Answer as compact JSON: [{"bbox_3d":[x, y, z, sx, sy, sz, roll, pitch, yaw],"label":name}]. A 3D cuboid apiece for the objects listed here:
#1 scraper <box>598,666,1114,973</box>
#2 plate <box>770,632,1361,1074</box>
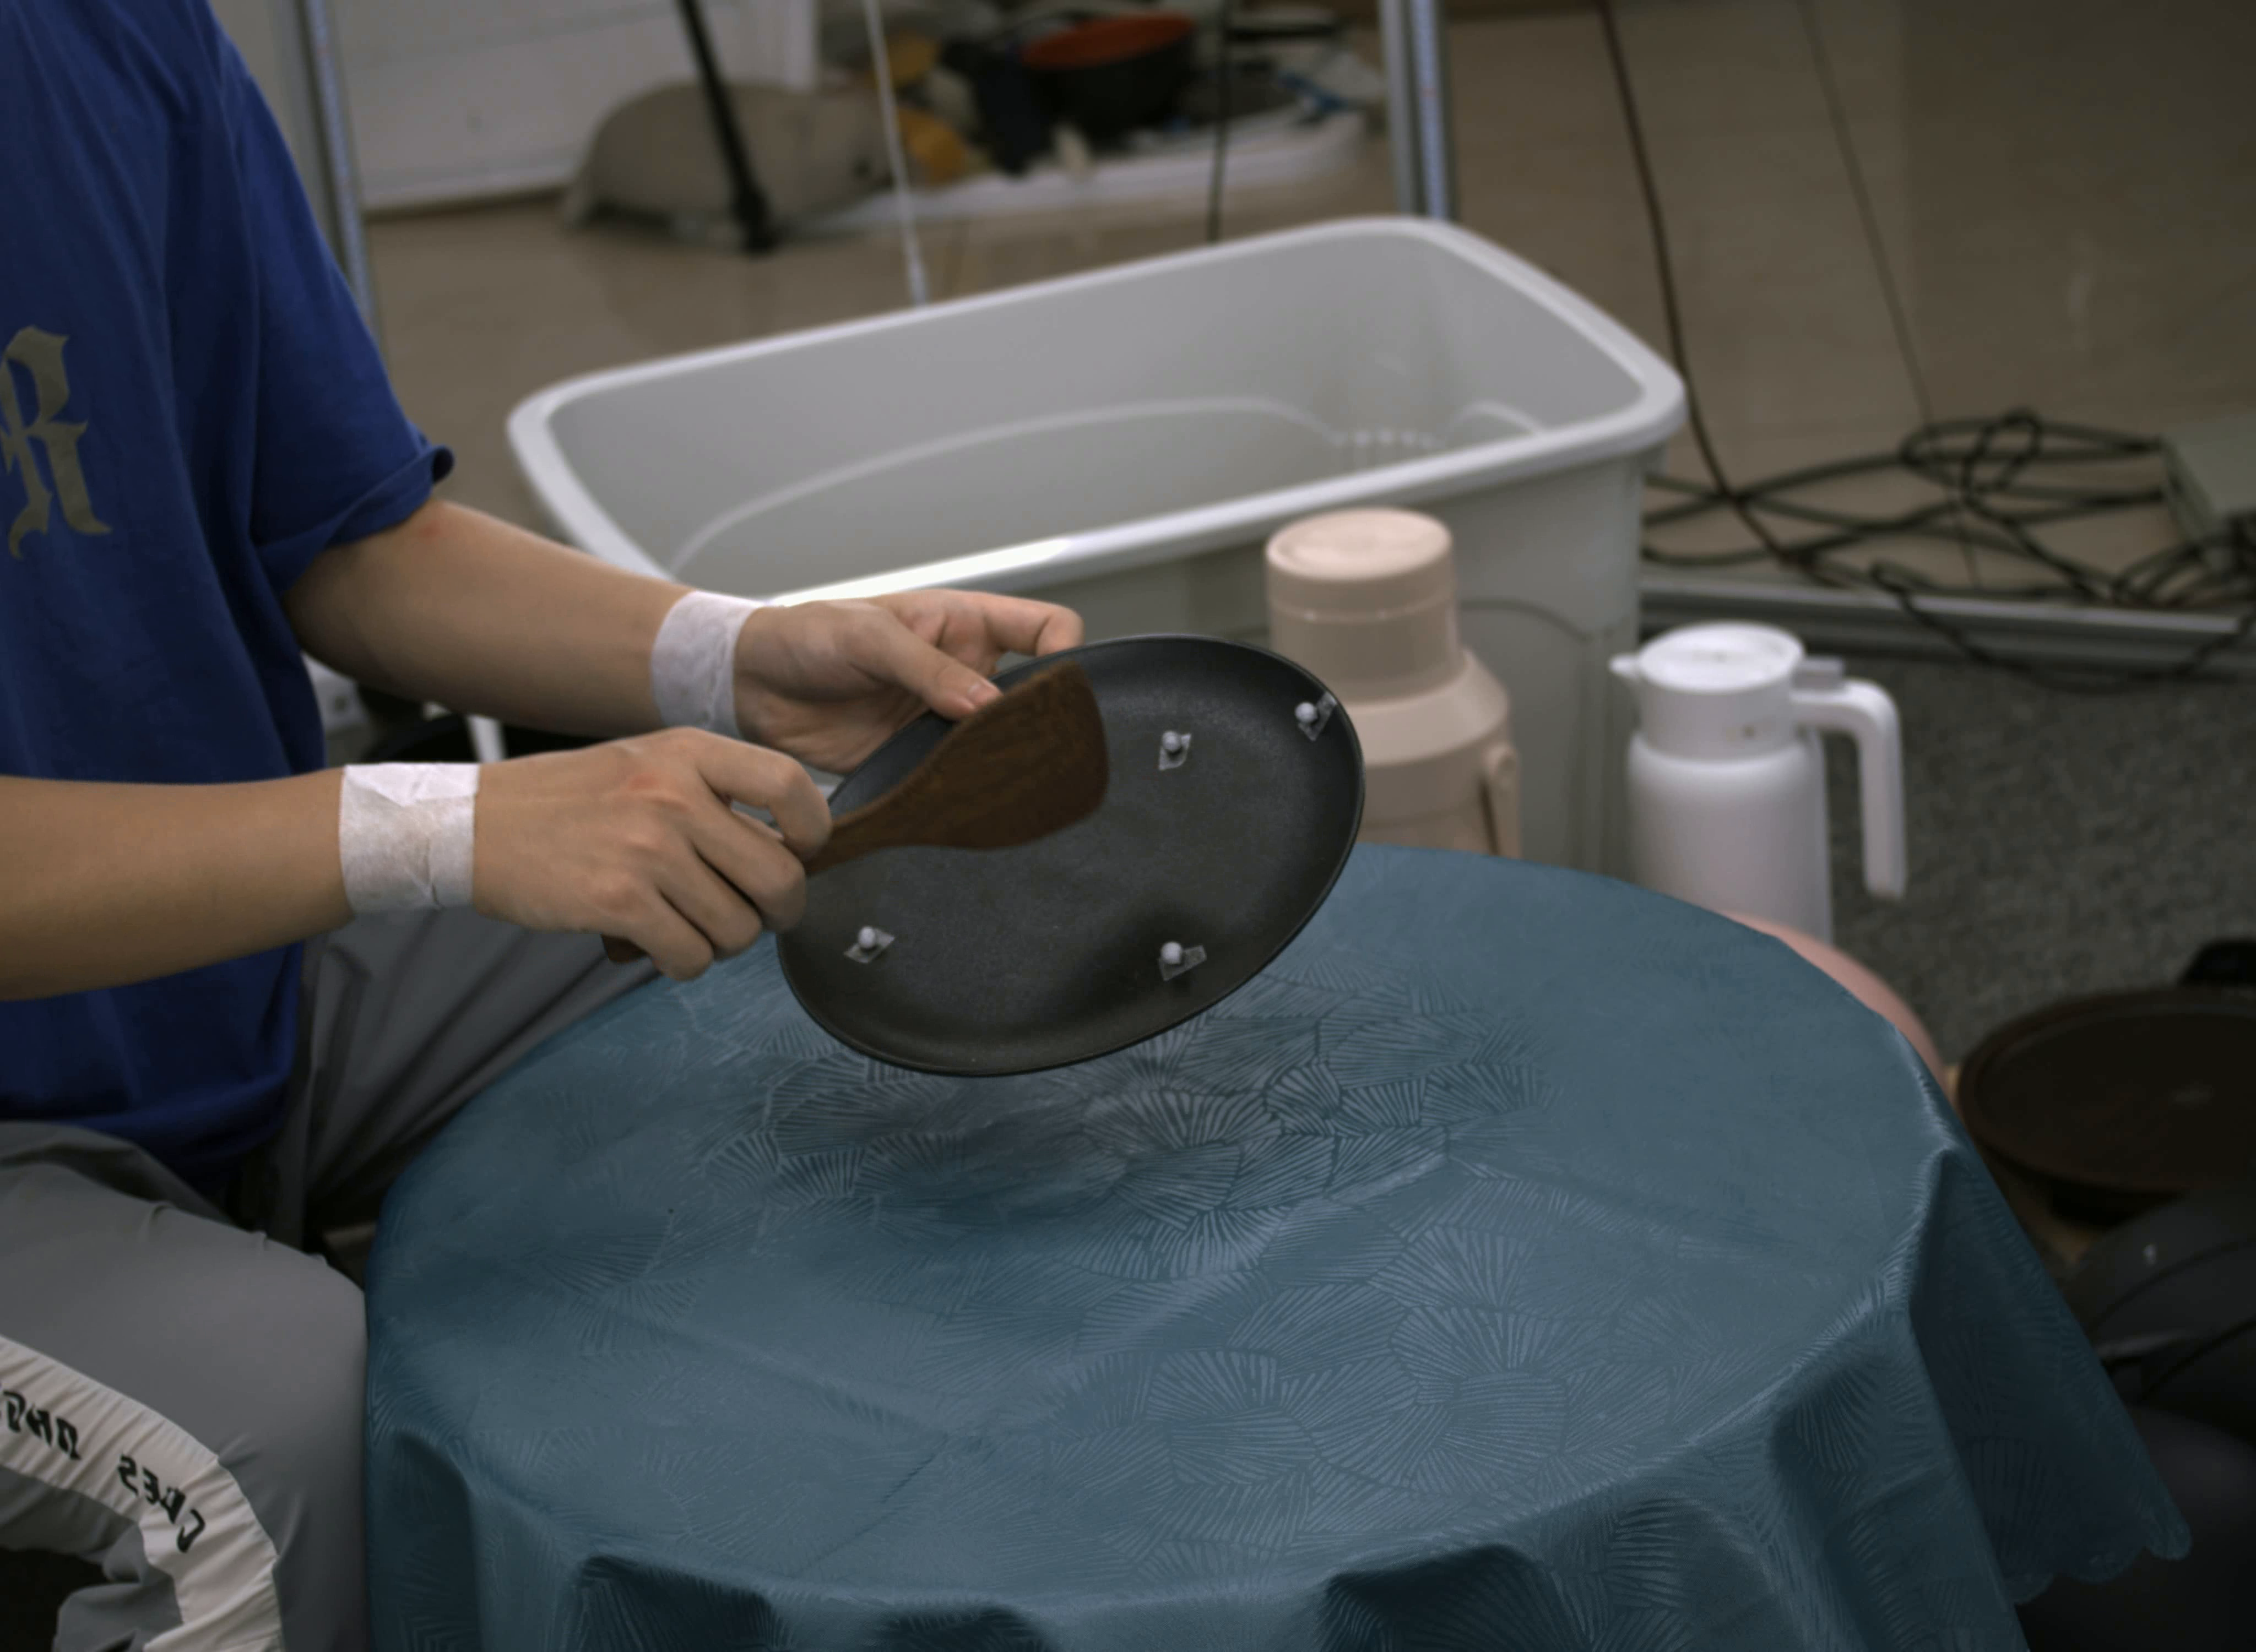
[{"bbox_3d":[-0.101,0.006,2.133,0.210,0.077,0.010,-23,42,-10],"label":"scraper"},{"bbox_3d":[-0.023,0.014,2.210,0.244,0.024,0.240,-14,41,13],"label":"plate"}]
